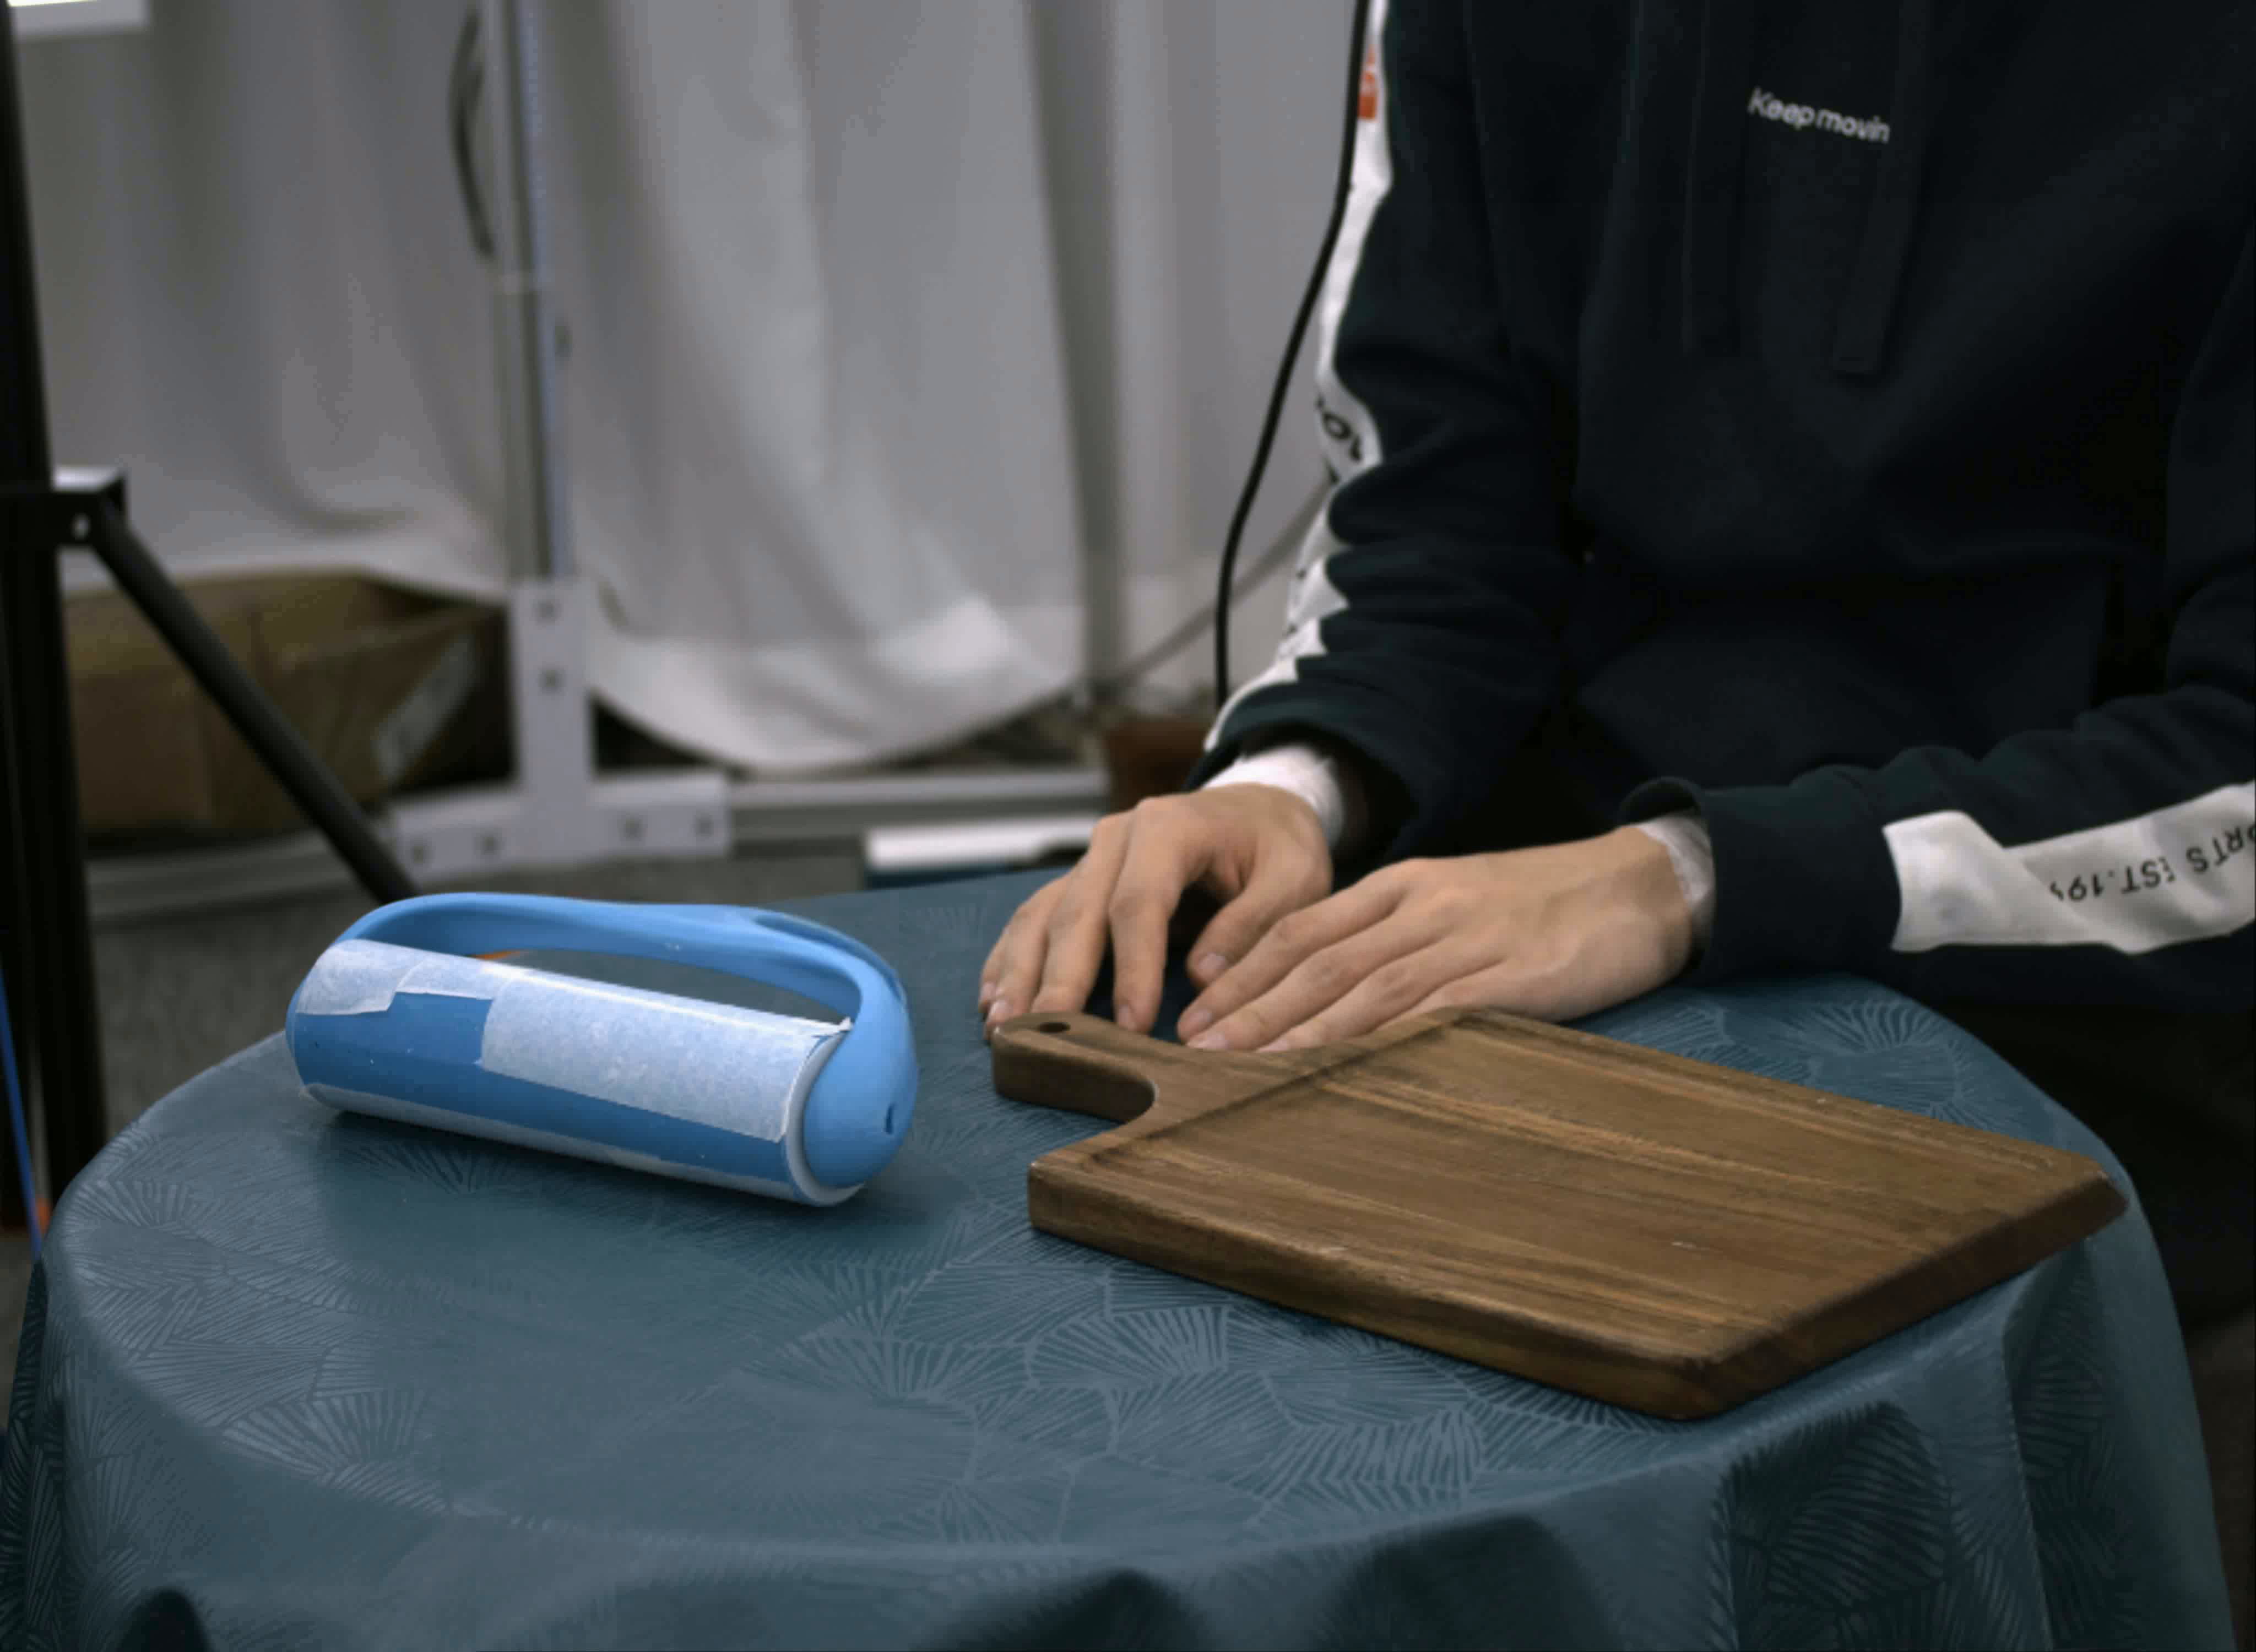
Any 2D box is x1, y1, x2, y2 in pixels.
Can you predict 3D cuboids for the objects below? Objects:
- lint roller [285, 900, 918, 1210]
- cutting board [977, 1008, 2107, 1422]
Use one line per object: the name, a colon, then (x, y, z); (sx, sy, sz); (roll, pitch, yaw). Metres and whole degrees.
lint roller: (-0.132, 0.057, 1.655); (0.233, 0.068, 0.177); (6, 19, 33)
cutting board: (0.088, 0.097, 1.540); (0.360, 0.023, 0.196); (13, 21, 43)
